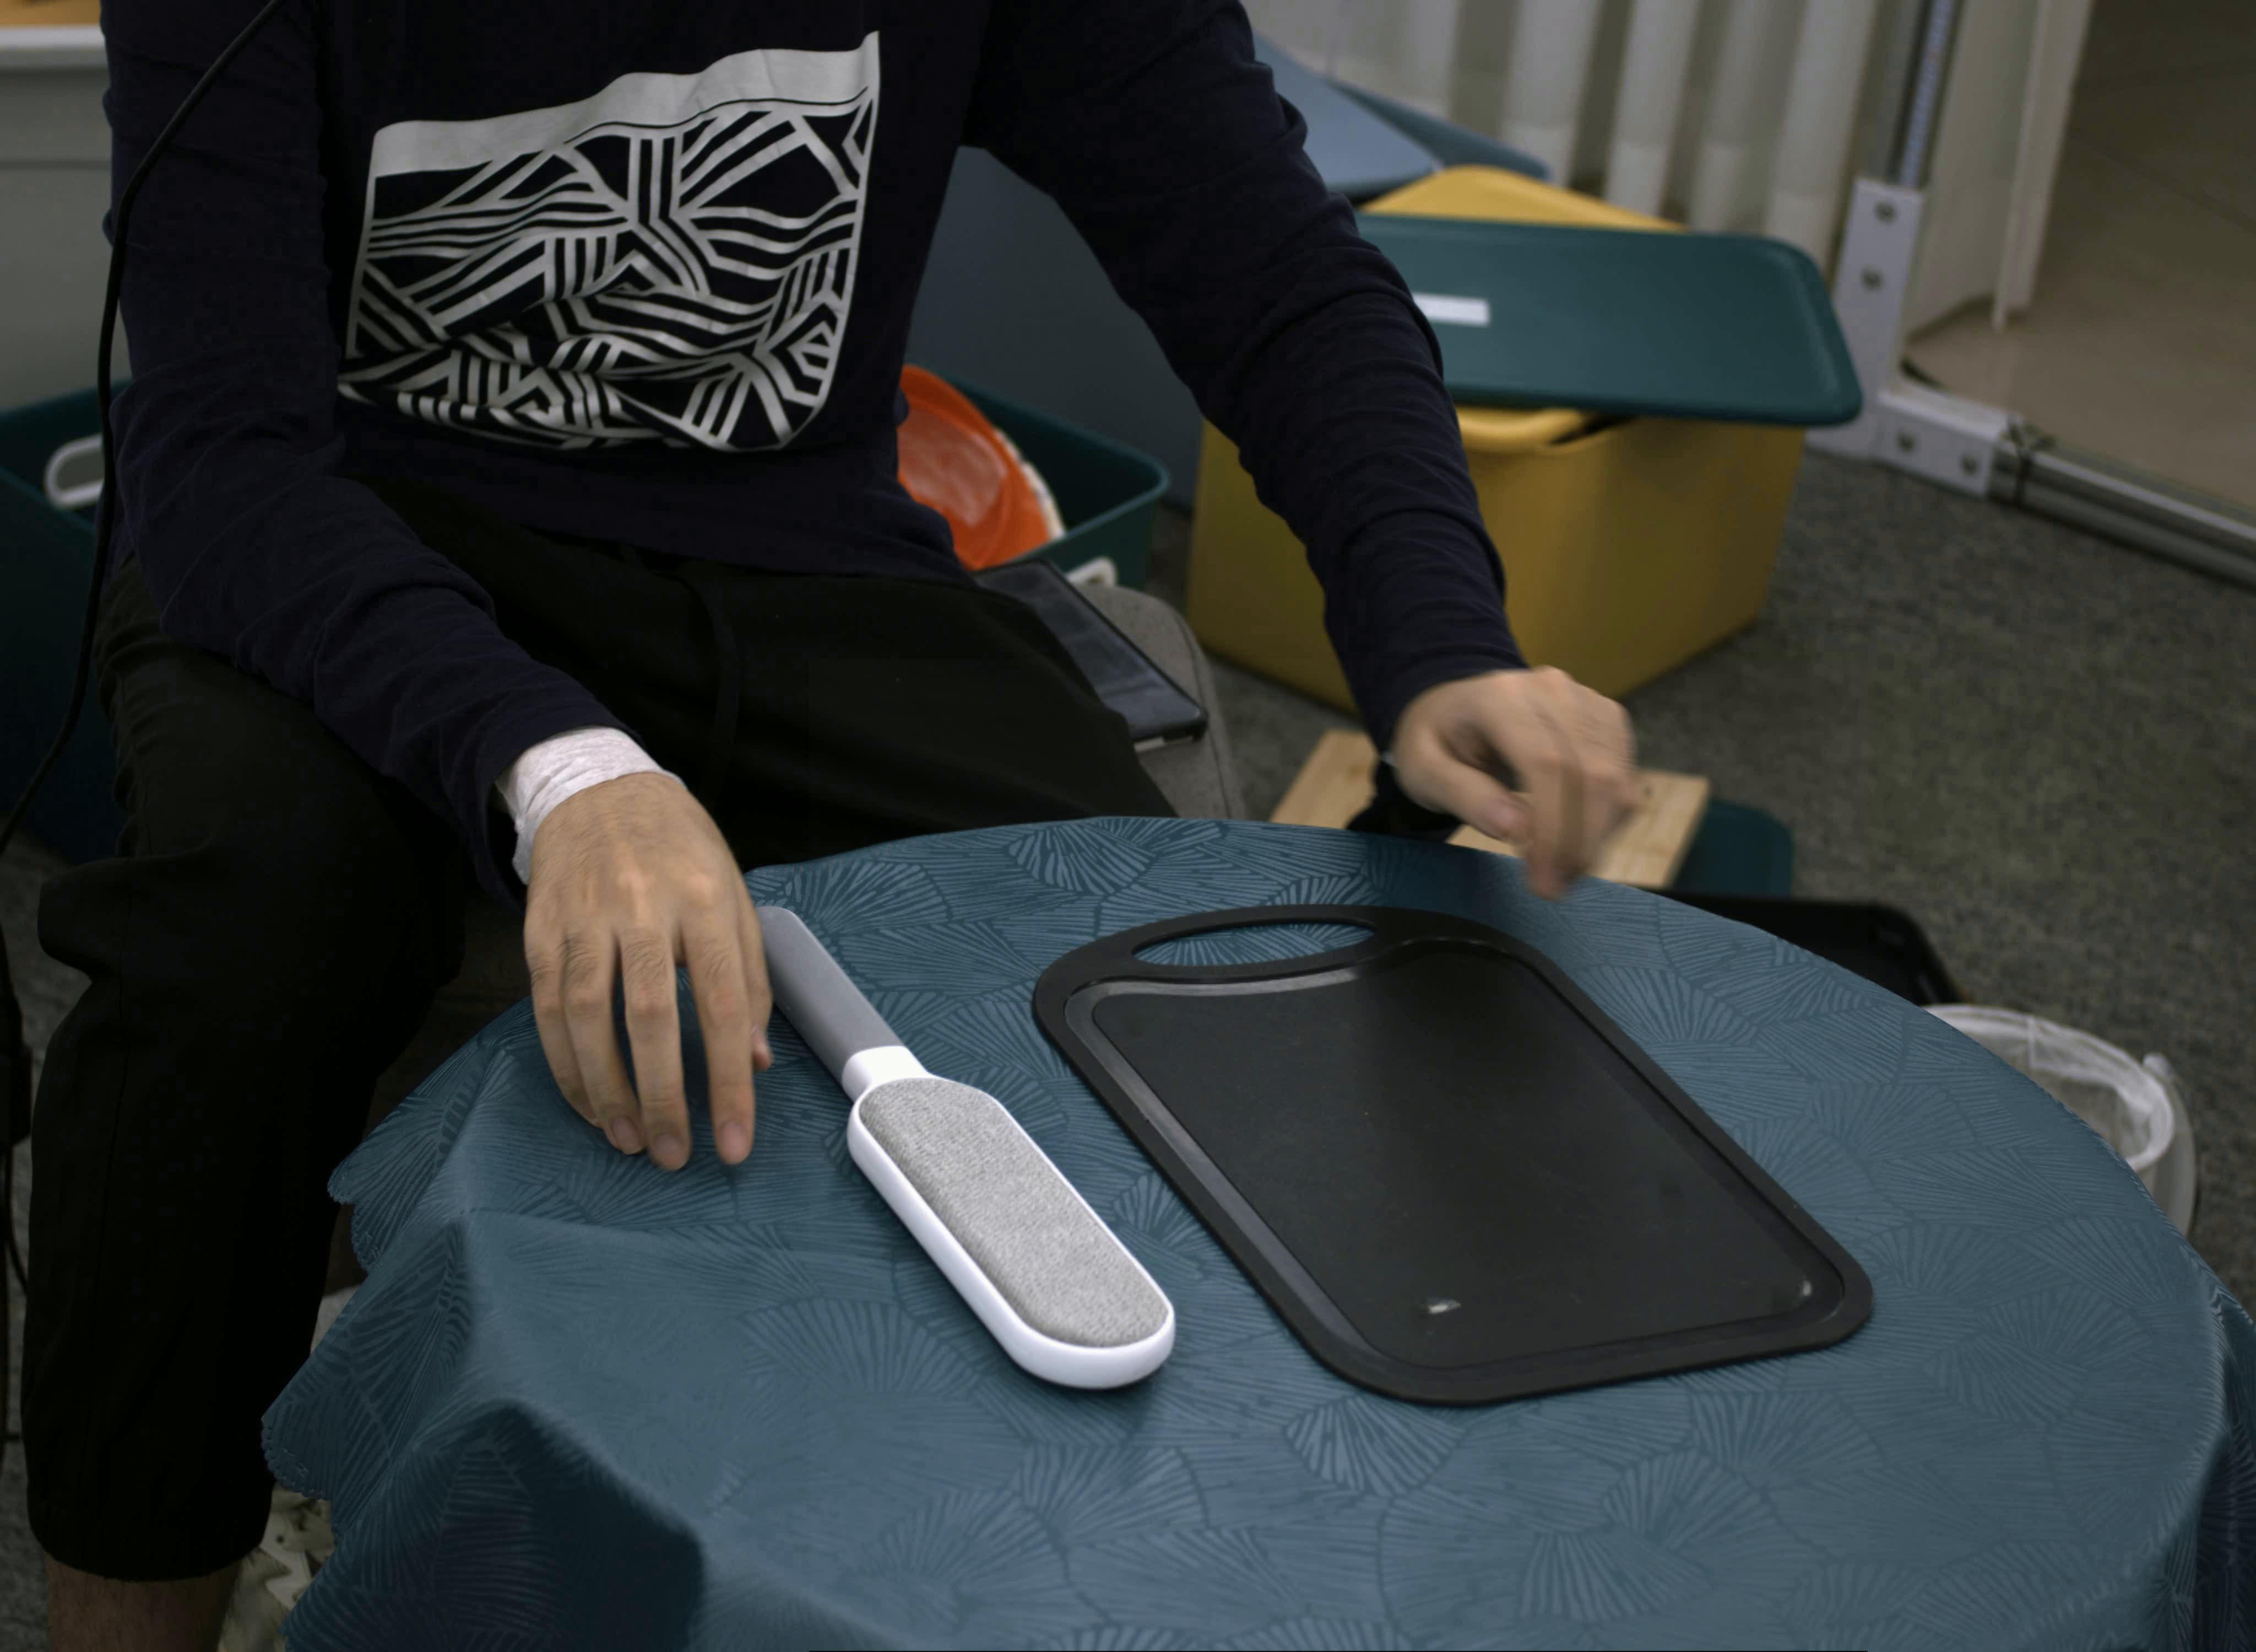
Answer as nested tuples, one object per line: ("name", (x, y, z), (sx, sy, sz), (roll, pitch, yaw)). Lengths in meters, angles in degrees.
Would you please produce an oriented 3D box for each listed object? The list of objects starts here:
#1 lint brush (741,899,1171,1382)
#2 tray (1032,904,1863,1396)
("lint brush", (-0.066, 0.101, 1.805), (0.060, 0.021, 0.312), (-12, 31, -22))
("tray", (0.102, 0.104, 1.861), (0.210, 0.010, 0.328), (-6, 29, -23))
